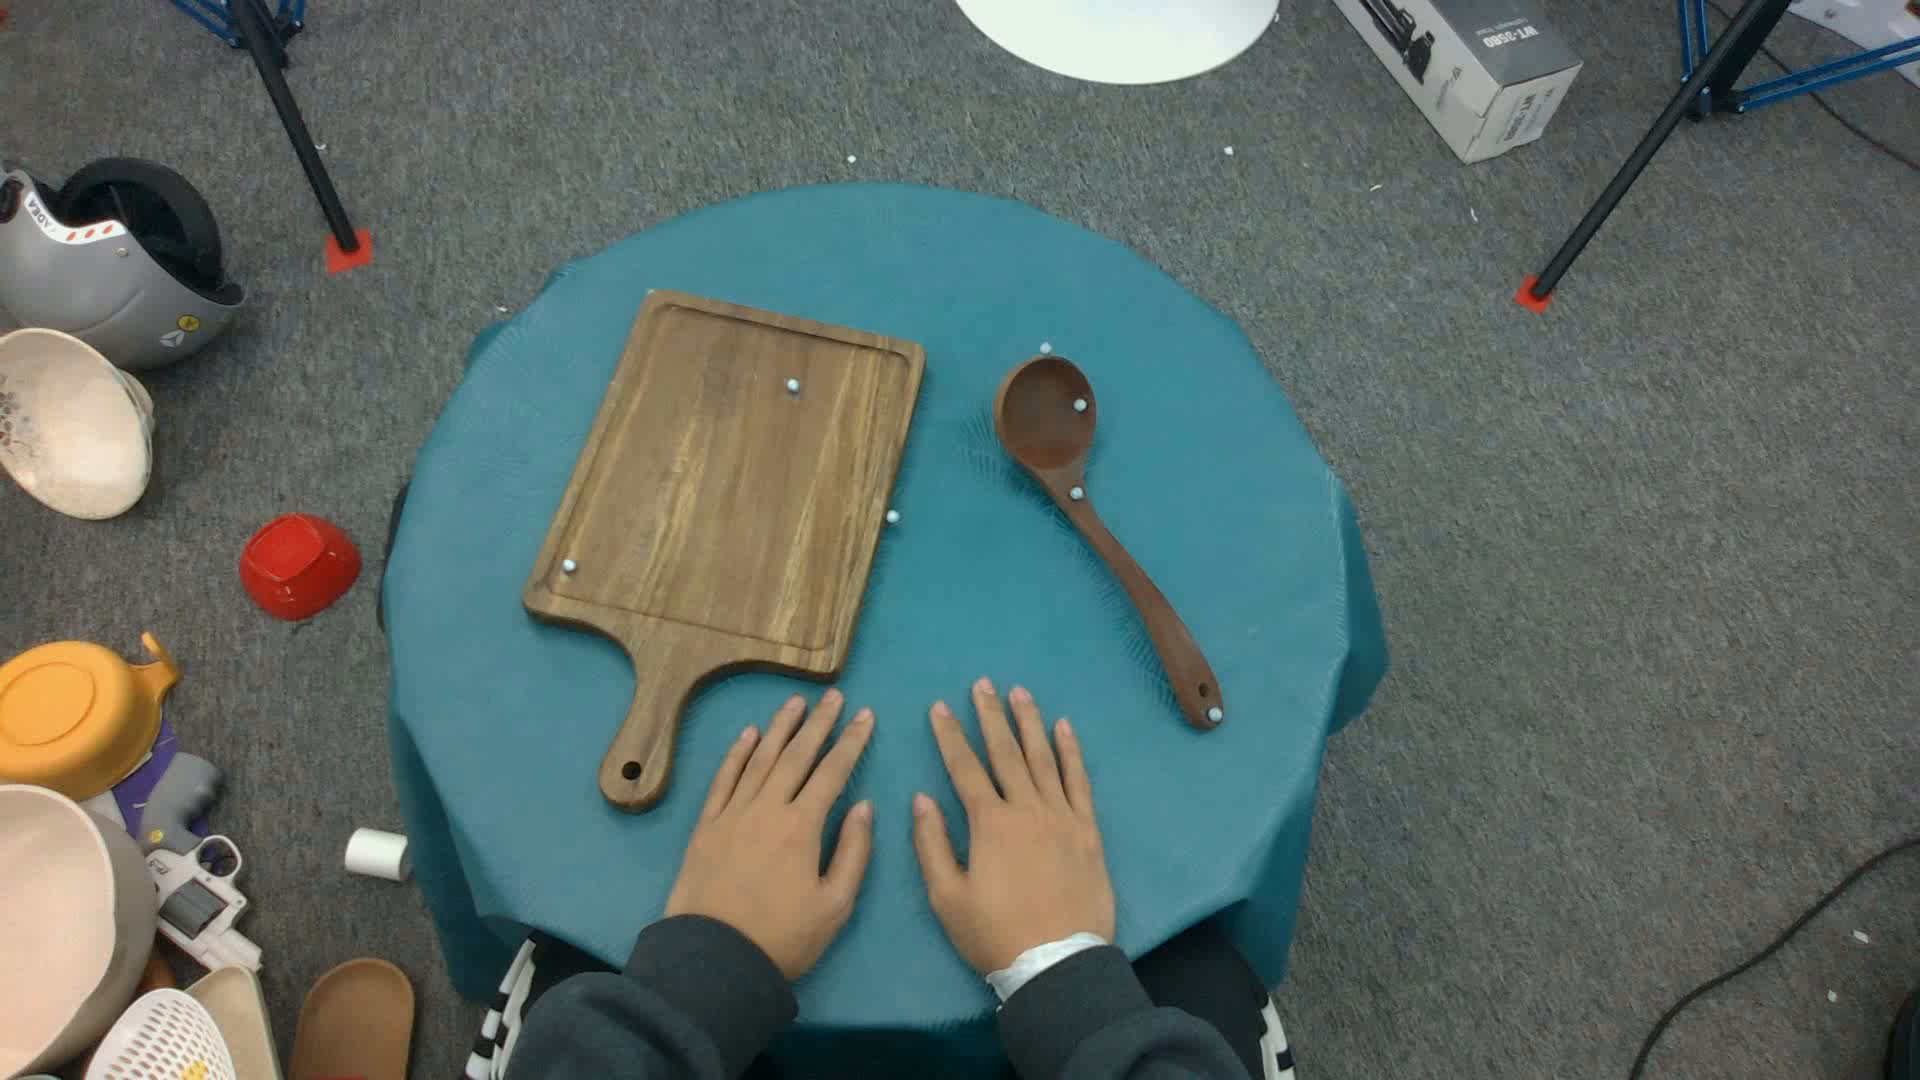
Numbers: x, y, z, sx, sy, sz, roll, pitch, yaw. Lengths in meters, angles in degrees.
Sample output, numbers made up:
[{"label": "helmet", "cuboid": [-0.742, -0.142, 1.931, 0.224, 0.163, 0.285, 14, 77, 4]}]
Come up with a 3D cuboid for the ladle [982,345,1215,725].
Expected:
[{"label": "ladle", "cuboid": [0.092, -0.008, 0.850, 0.077, 0.065, 0.261, -18, 64, -23]}]

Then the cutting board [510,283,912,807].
[{"label": "cutting board", "cuboid": [-0.158, -0.006, 0.849, 0.201, 0.023, 0.353, 11, 60, 2]}]
